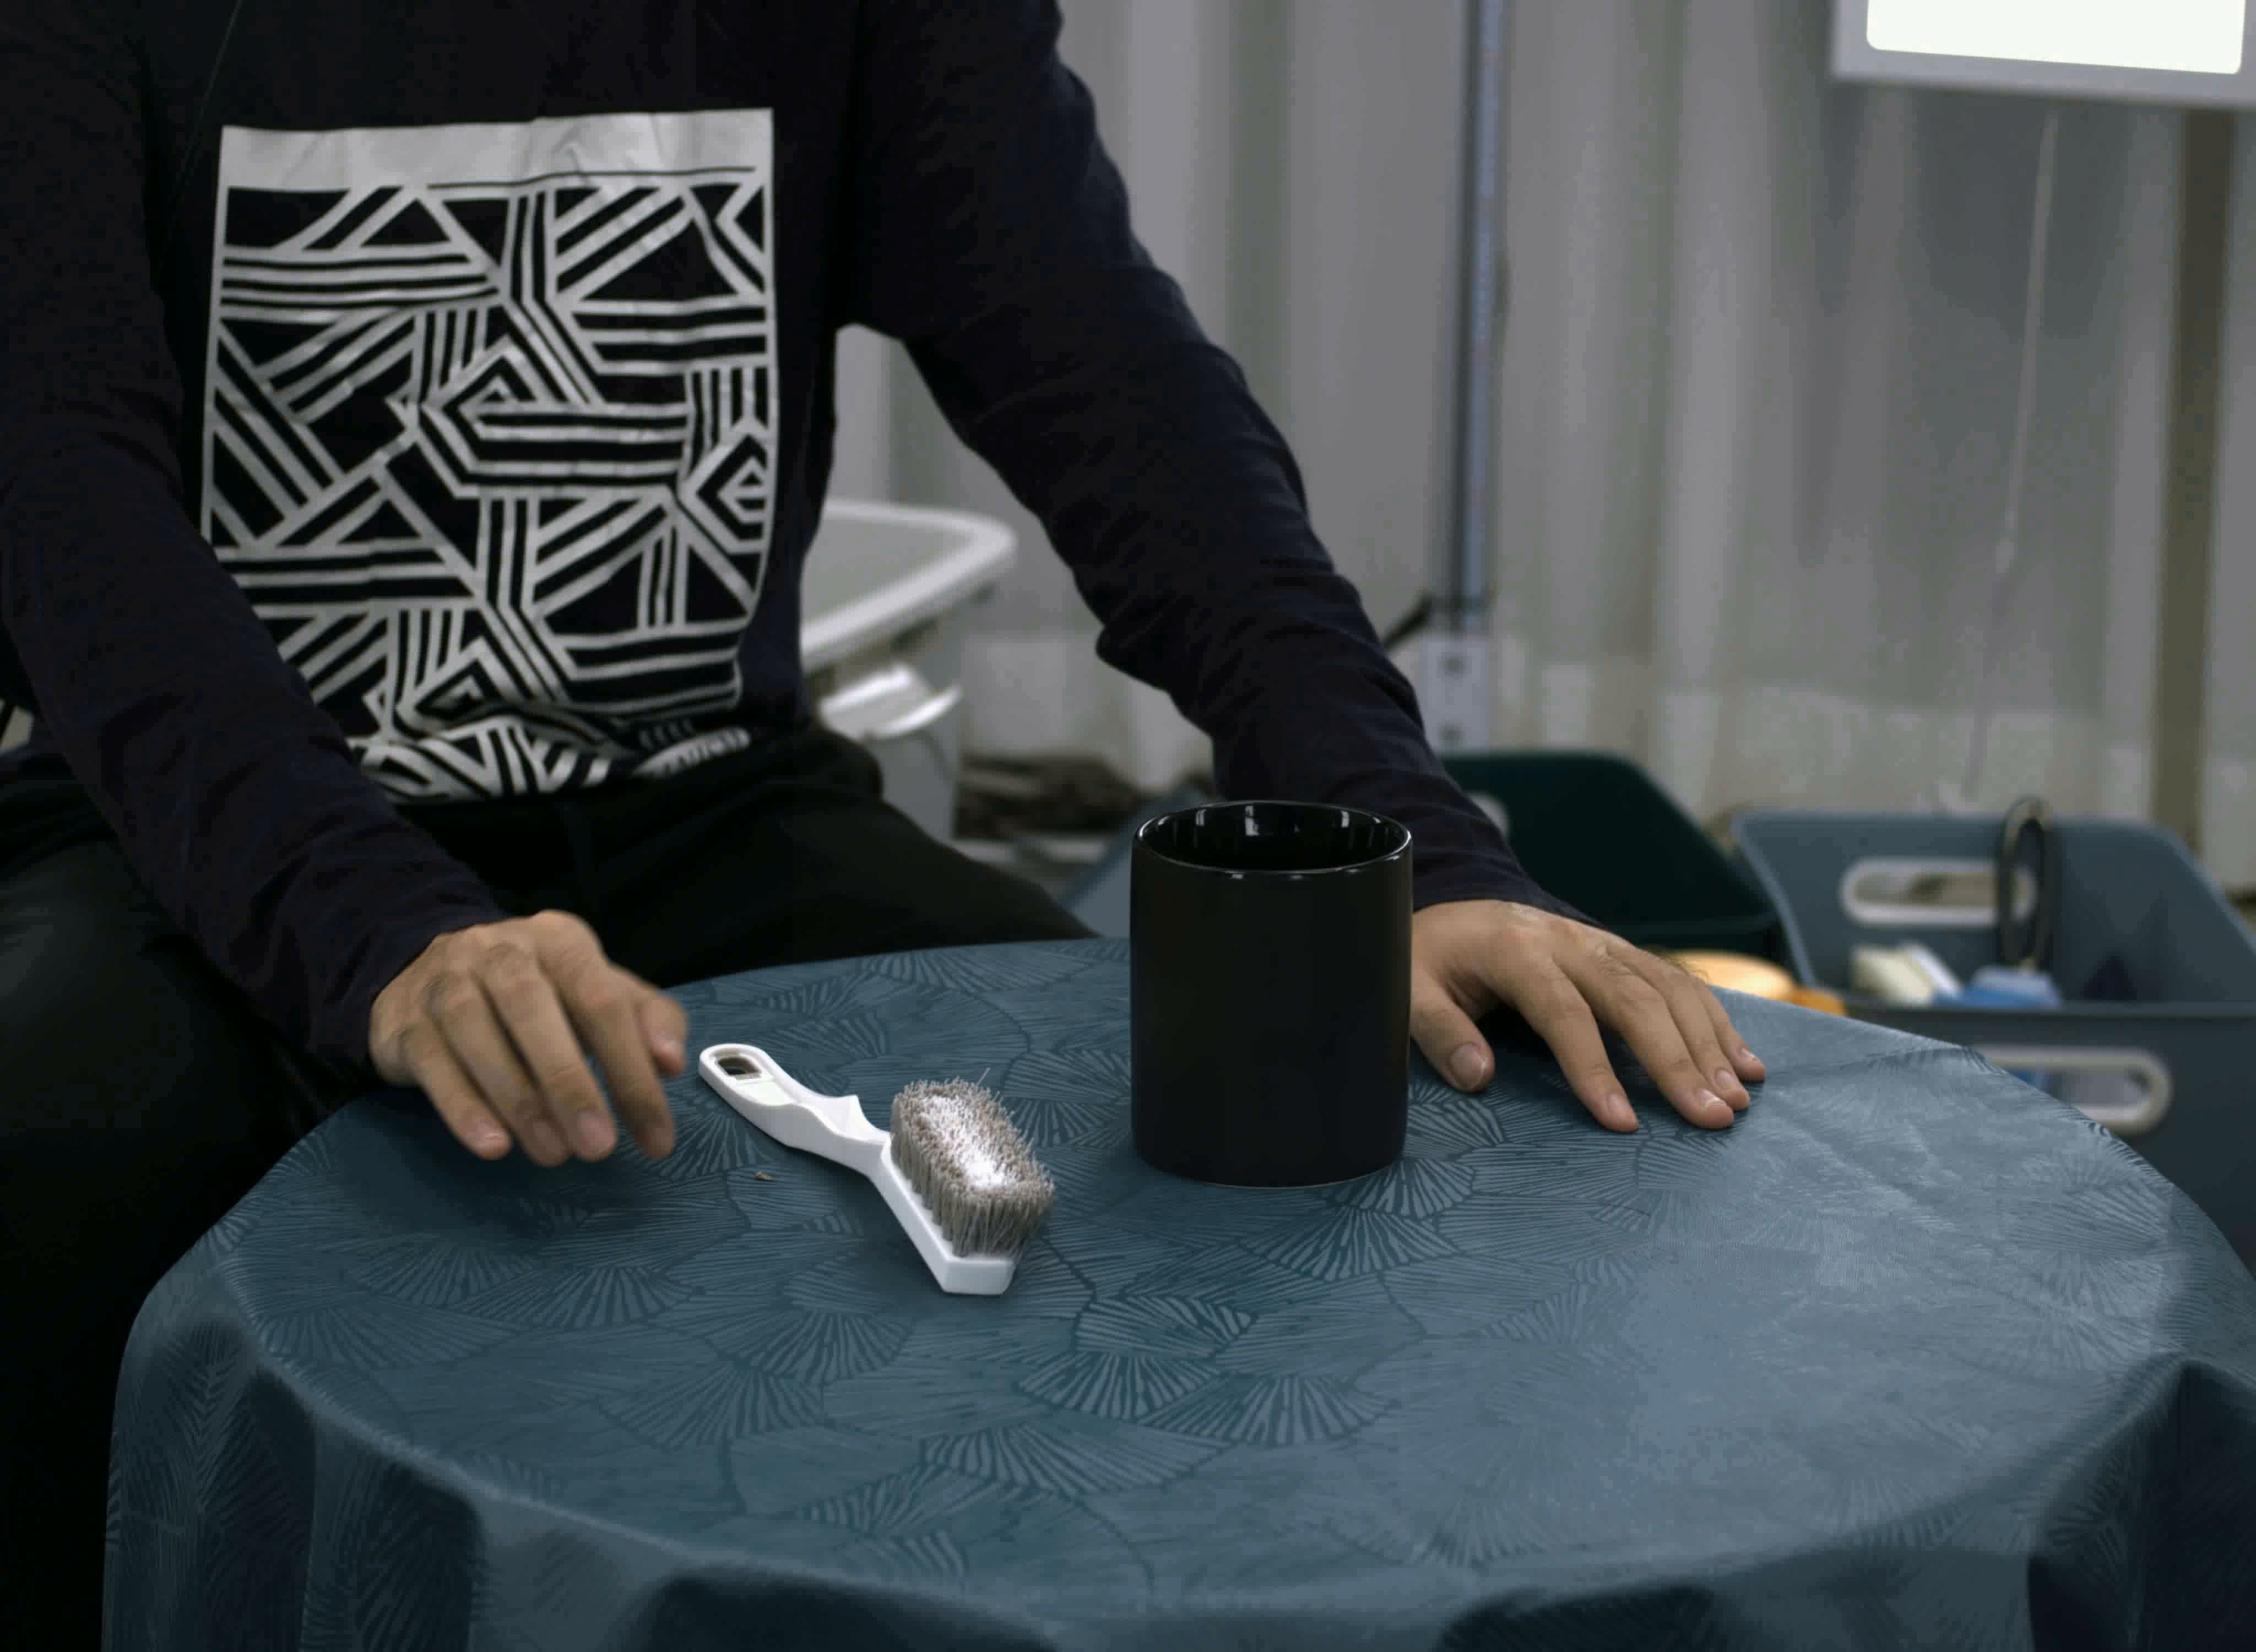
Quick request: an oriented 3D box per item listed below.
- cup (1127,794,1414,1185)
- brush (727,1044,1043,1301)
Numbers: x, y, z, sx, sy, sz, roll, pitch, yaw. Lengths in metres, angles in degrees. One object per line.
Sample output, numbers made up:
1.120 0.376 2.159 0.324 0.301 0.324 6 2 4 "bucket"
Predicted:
0.039 0.047 1.670 0.089 0.106 0.122 -8 16 -18 "cup"
-0.081 0.087 1.627 0.034 0.050 0.241 -10 18 -19 "brush"
